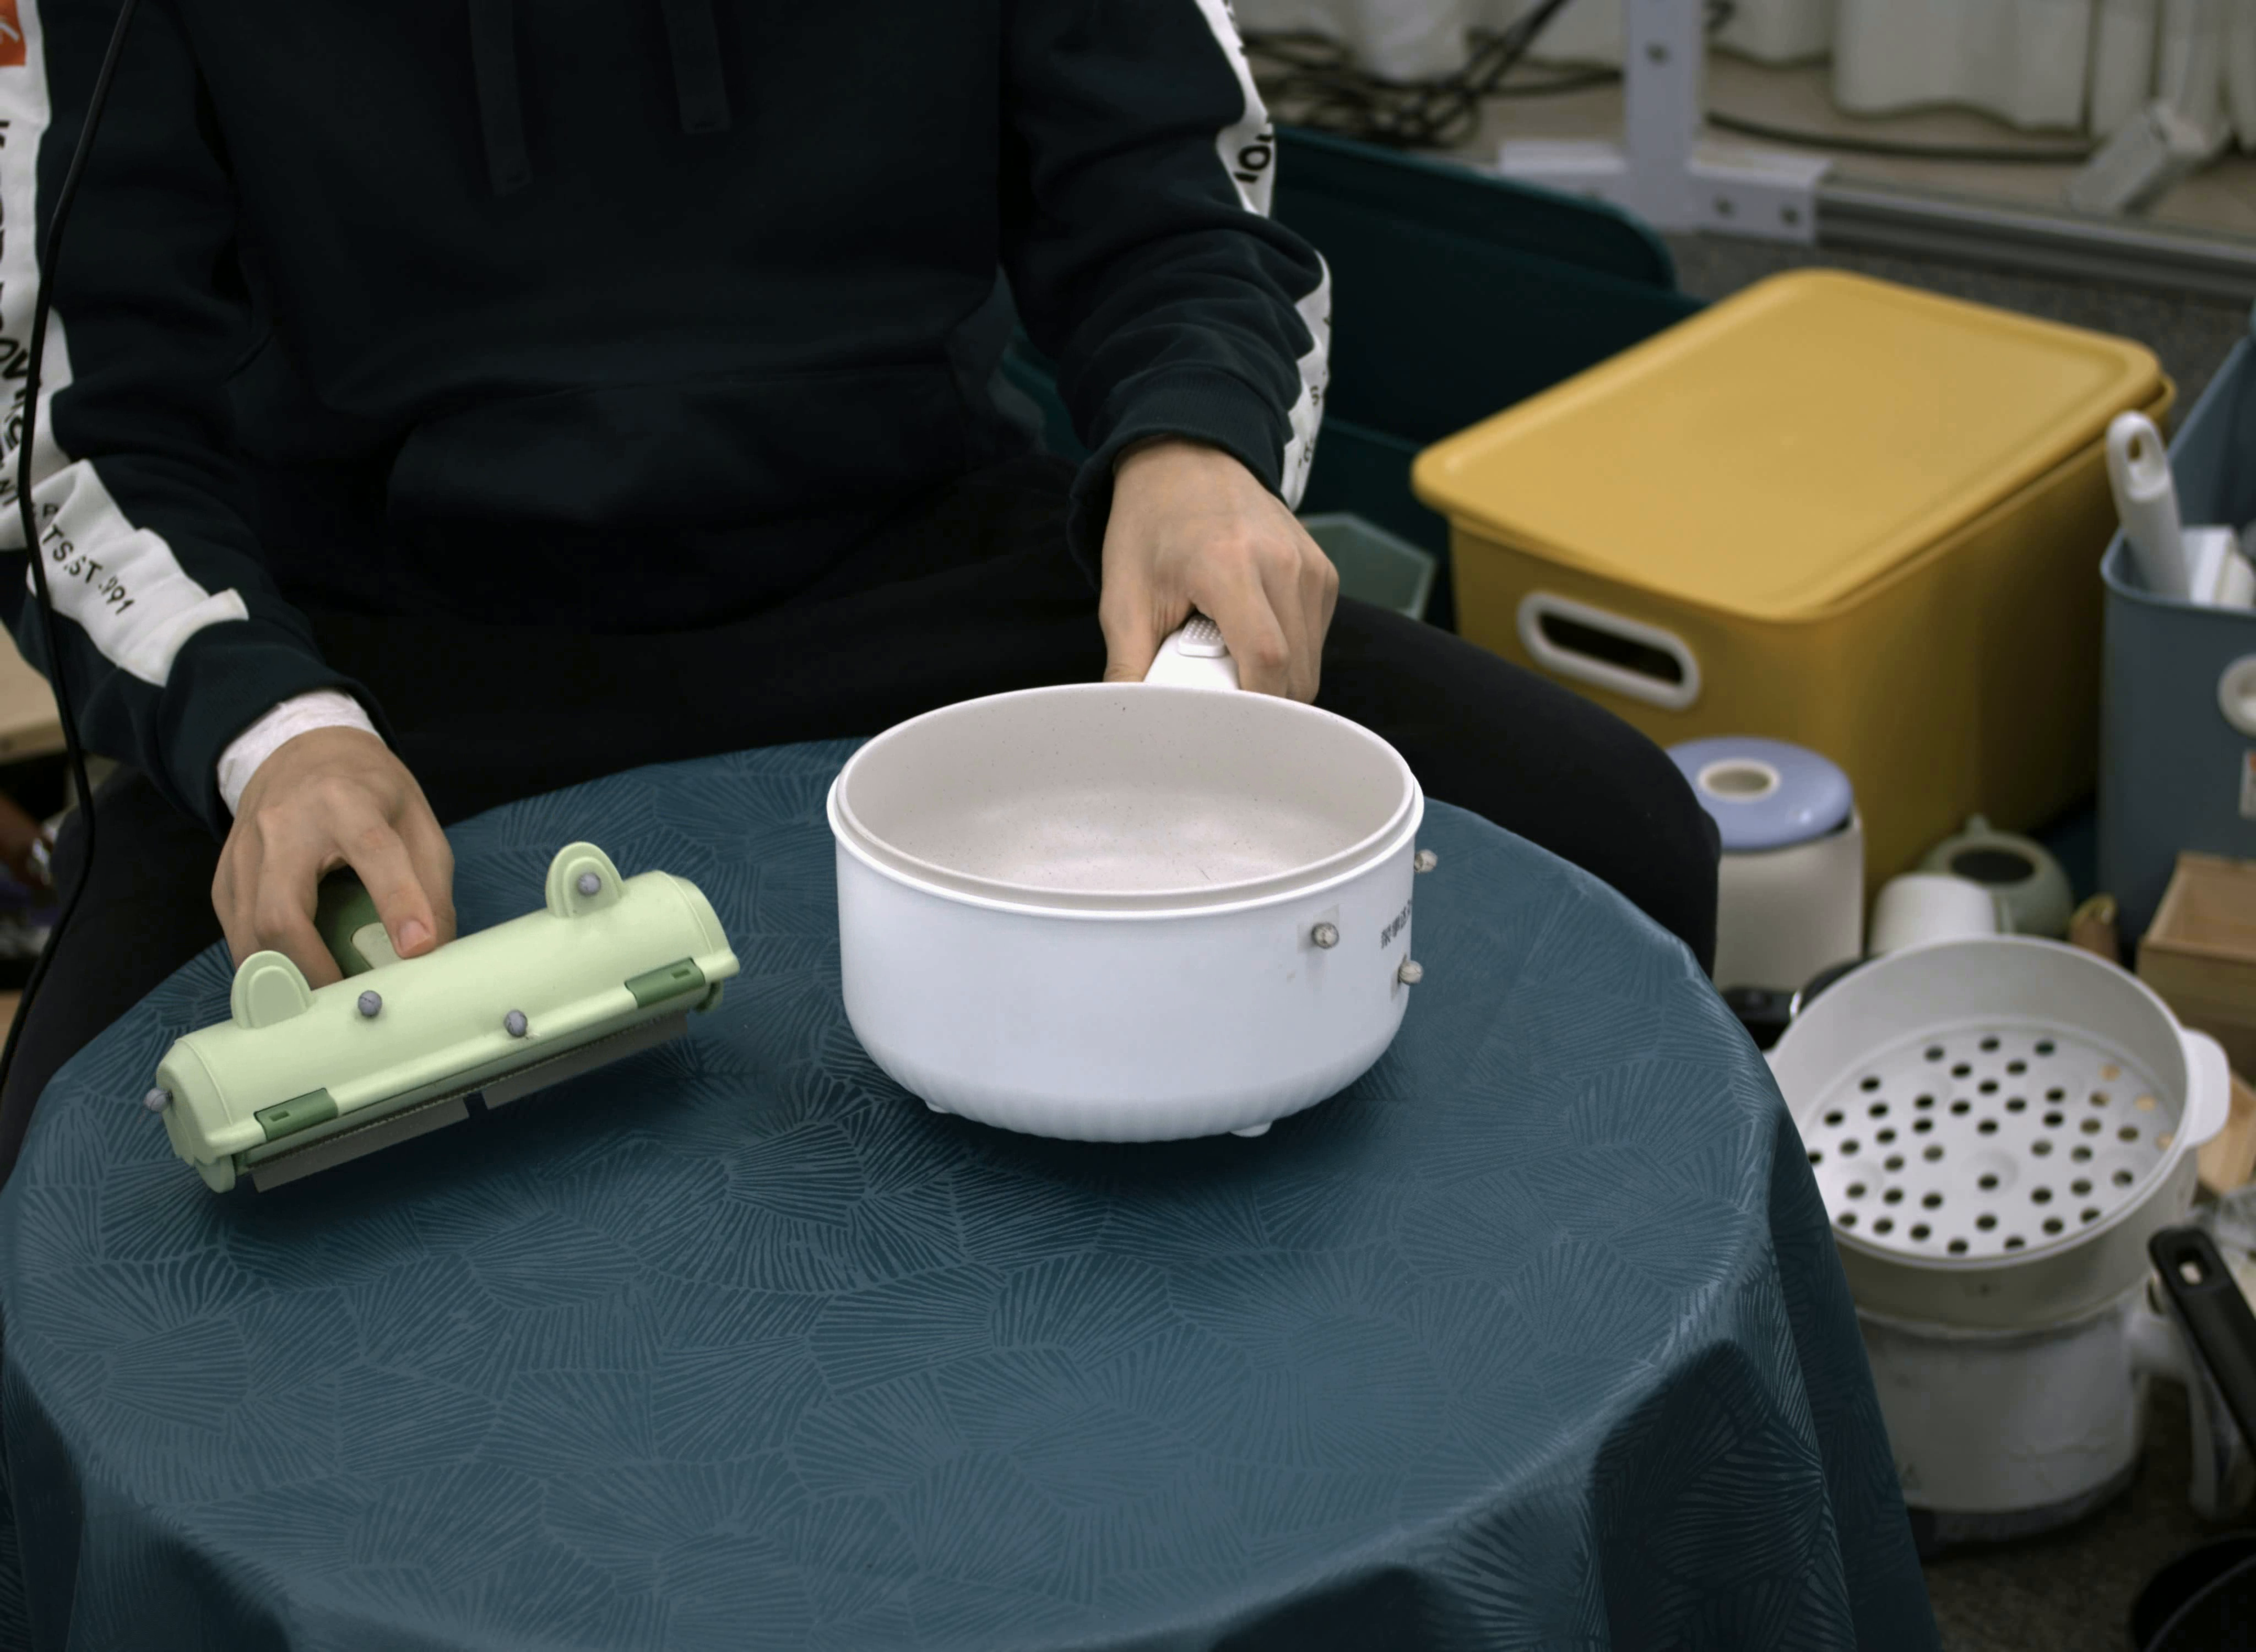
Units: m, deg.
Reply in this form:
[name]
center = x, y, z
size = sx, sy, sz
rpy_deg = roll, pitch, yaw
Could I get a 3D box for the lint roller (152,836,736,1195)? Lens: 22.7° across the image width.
[lint roller]
center = -0.259, 0.037, 1.933
size = 0.200, 0.081, 0.184
rpy_deg = -21, 37, -24

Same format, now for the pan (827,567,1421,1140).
[pan]
center = 0.014, 0.006, 1.978
size = 0.200, 0.101, 0.359
rpy_deg = 3, 20, 11
